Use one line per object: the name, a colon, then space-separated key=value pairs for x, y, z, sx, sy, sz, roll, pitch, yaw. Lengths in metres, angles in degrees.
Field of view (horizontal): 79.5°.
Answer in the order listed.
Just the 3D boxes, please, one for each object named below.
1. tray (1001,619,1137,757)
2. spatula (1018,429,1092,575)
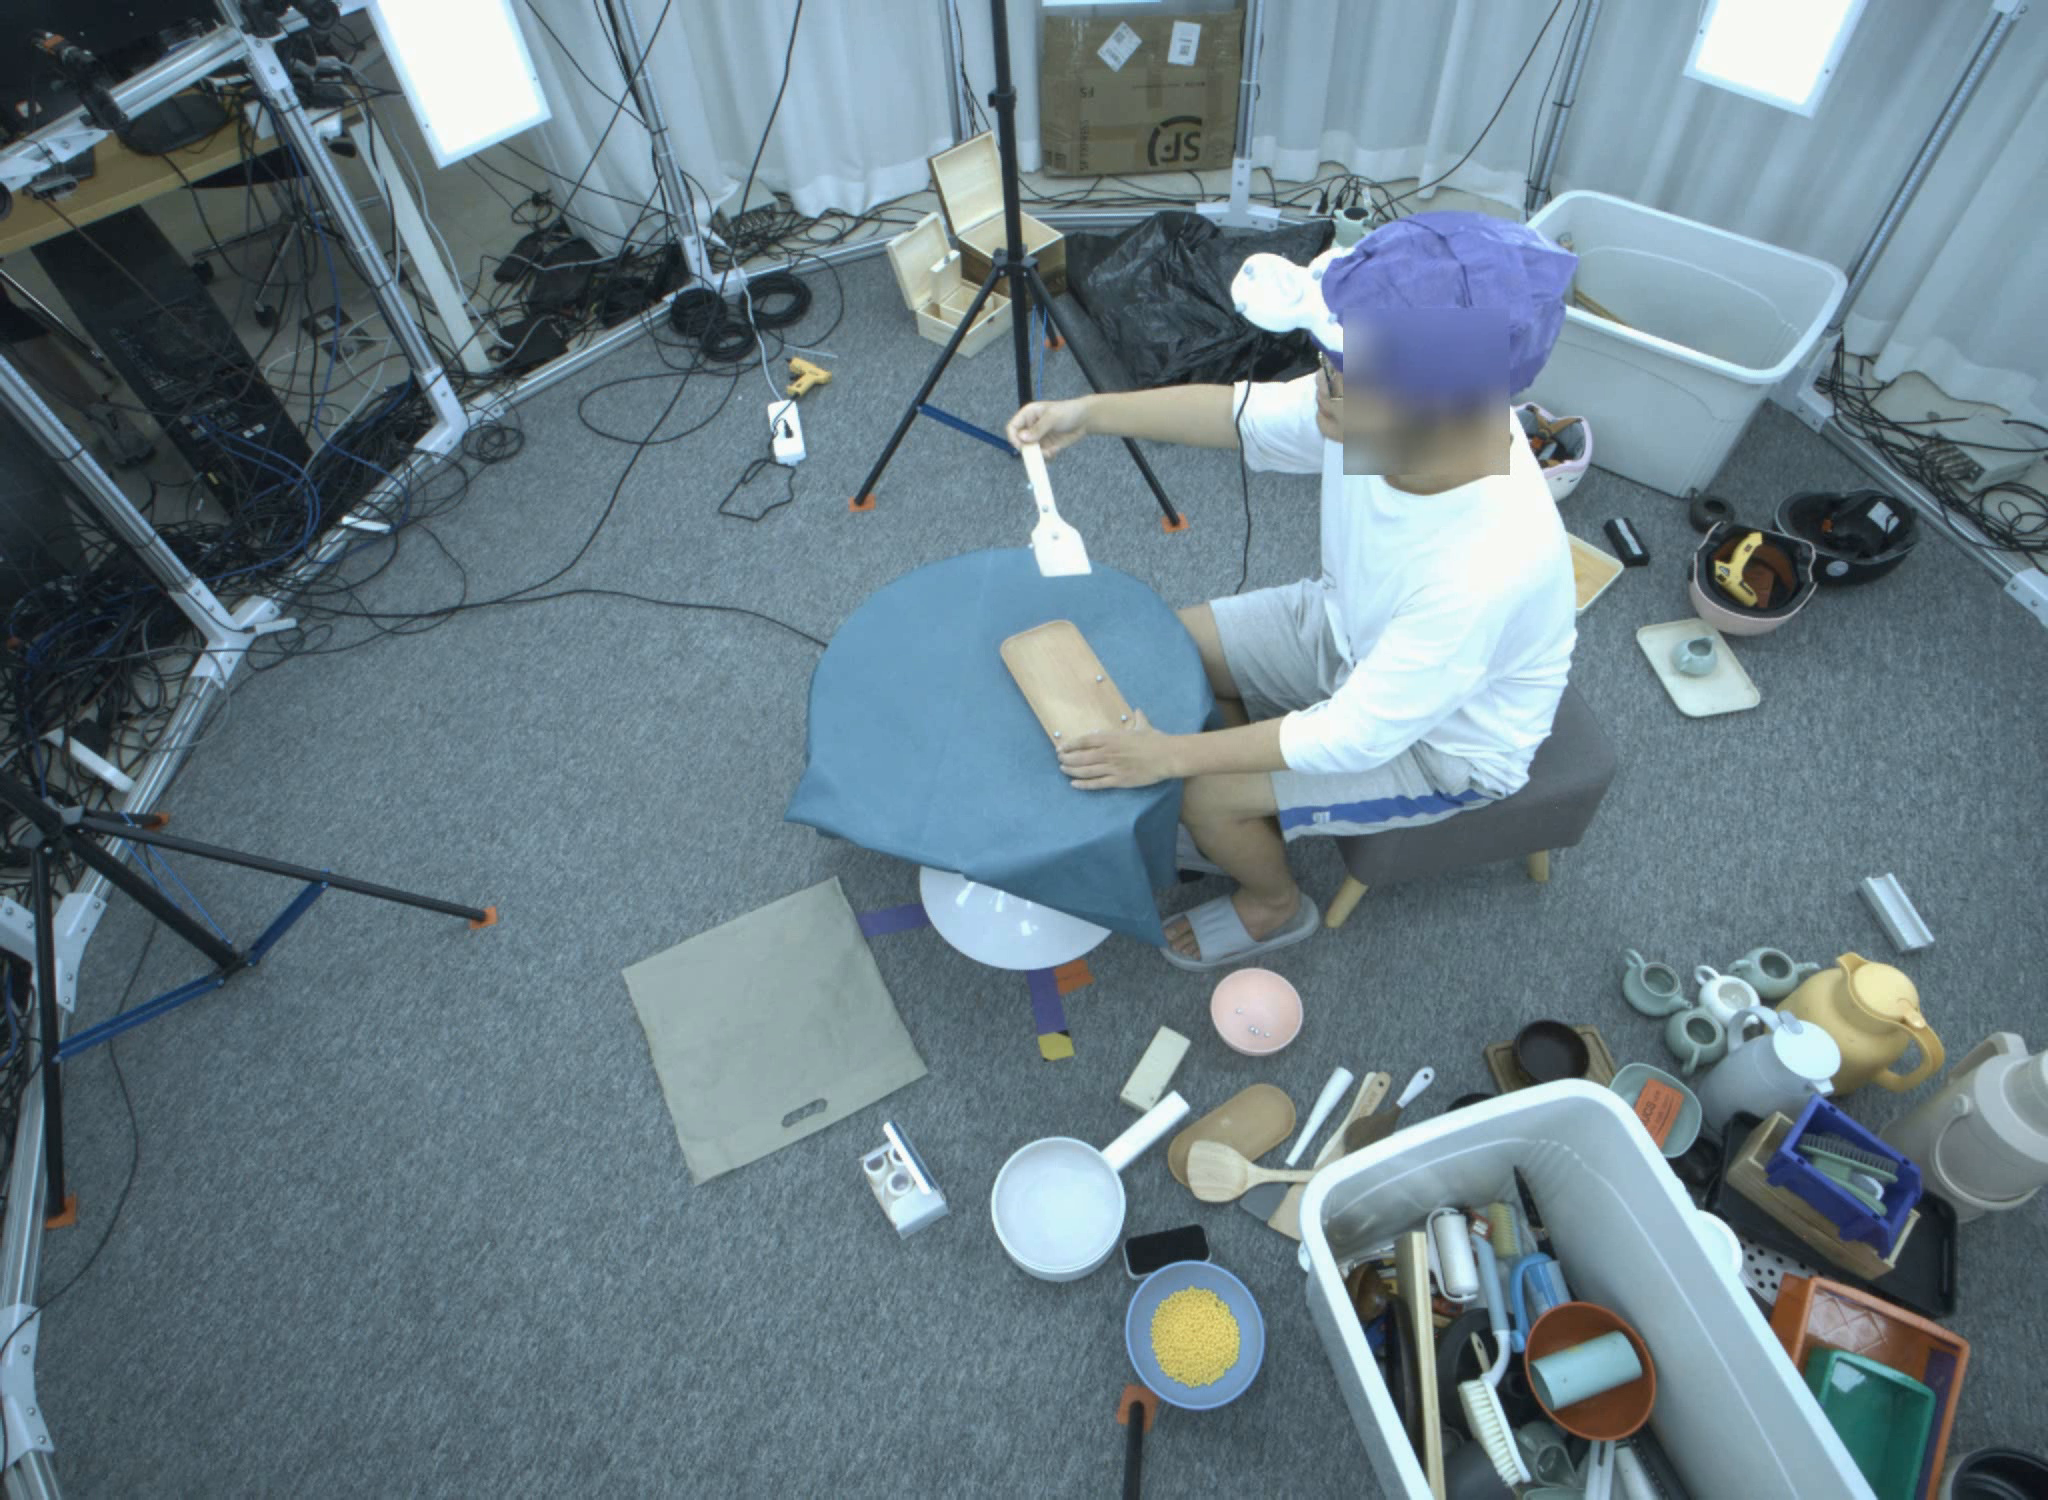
tray: x=0.064 y=-0.096 z=1.842 sx=0.131 sy=0.023 sz=0.246 roll=-19 pitch=55 yaw=-15
spatula: x=0.029 y=-0.358 z=1.734 sx=0.073 sy=0.011 sz=0.289 roll=-6 pitch=59 yaw=-14
